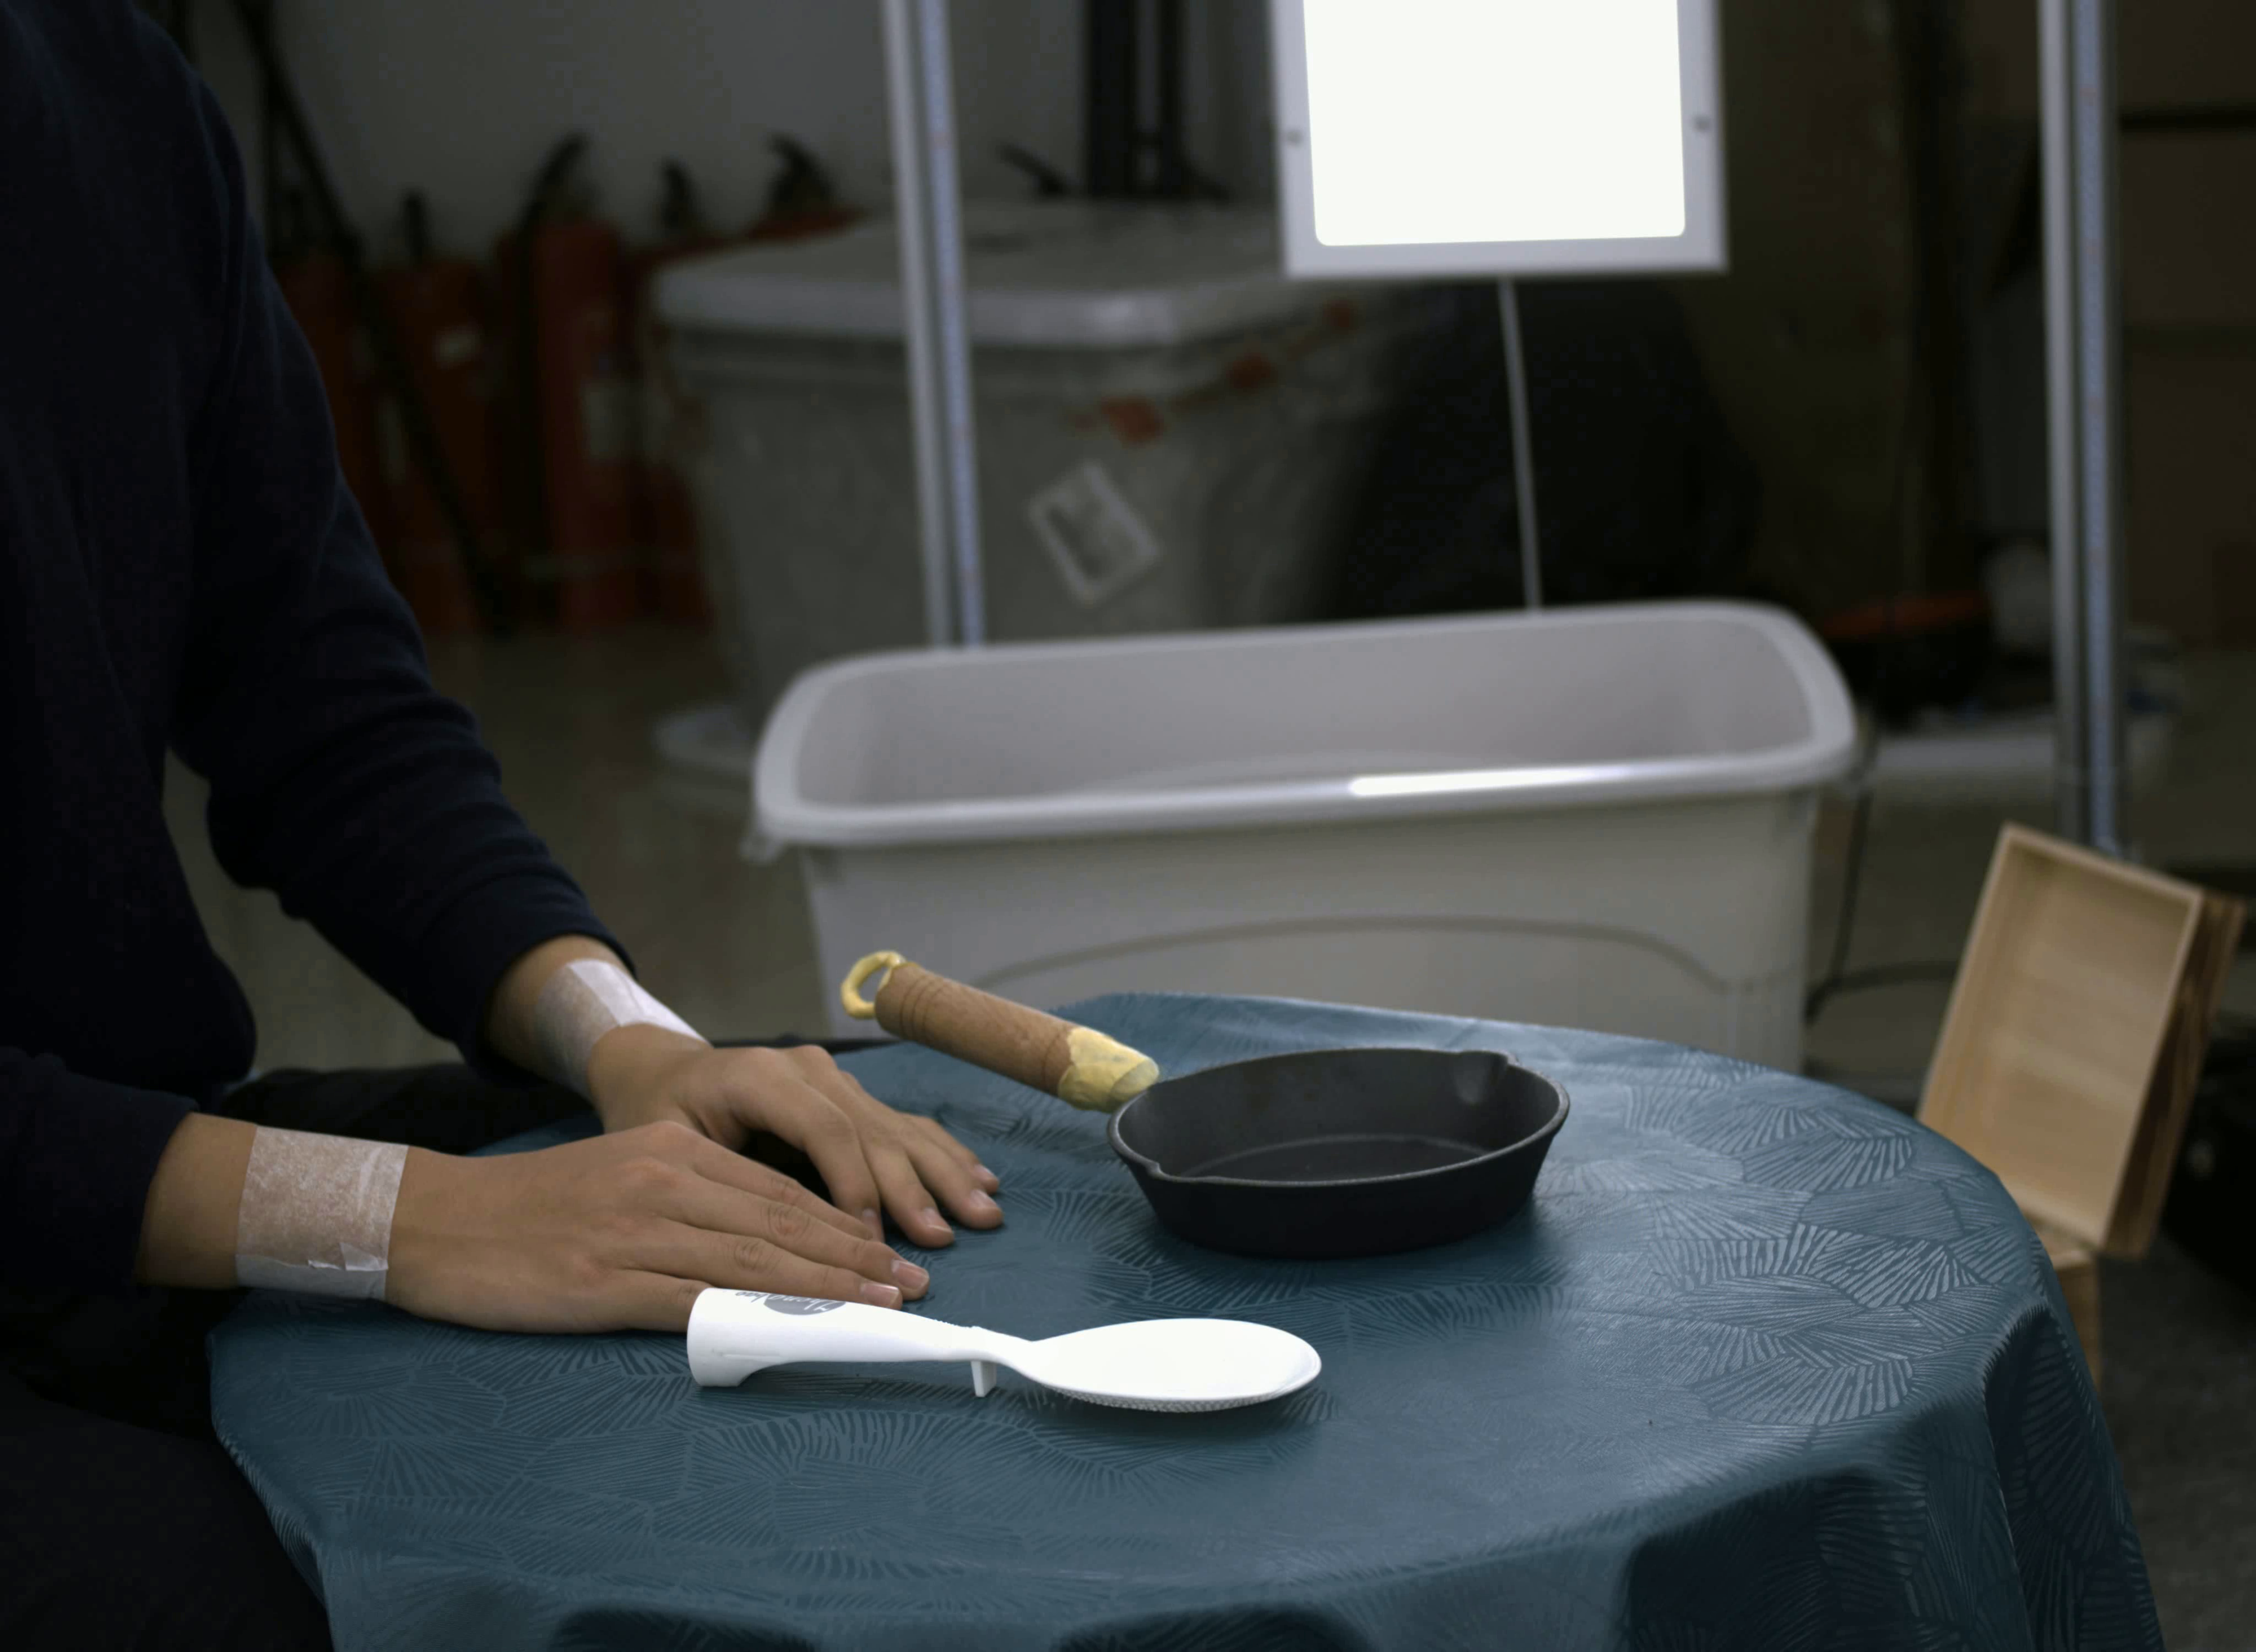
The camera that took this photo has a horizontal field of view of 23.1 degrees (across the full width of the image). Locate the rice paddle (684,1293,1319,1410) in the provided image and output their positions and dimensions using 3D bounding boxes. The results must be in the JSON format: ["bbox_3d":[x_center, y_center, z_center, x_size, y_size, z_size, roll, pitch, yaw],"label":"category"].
[{"bbox_3d":[-0.039,0.162,1.707,0.208,0.029,0.067,0,16,21],"label":"rice paddle"}]

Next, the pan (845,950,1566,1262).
[{"bbox_3d":[0.014,0.093,1.923,0.164,0.050,0.331,-17,20,-39],"label":"pan"}]
